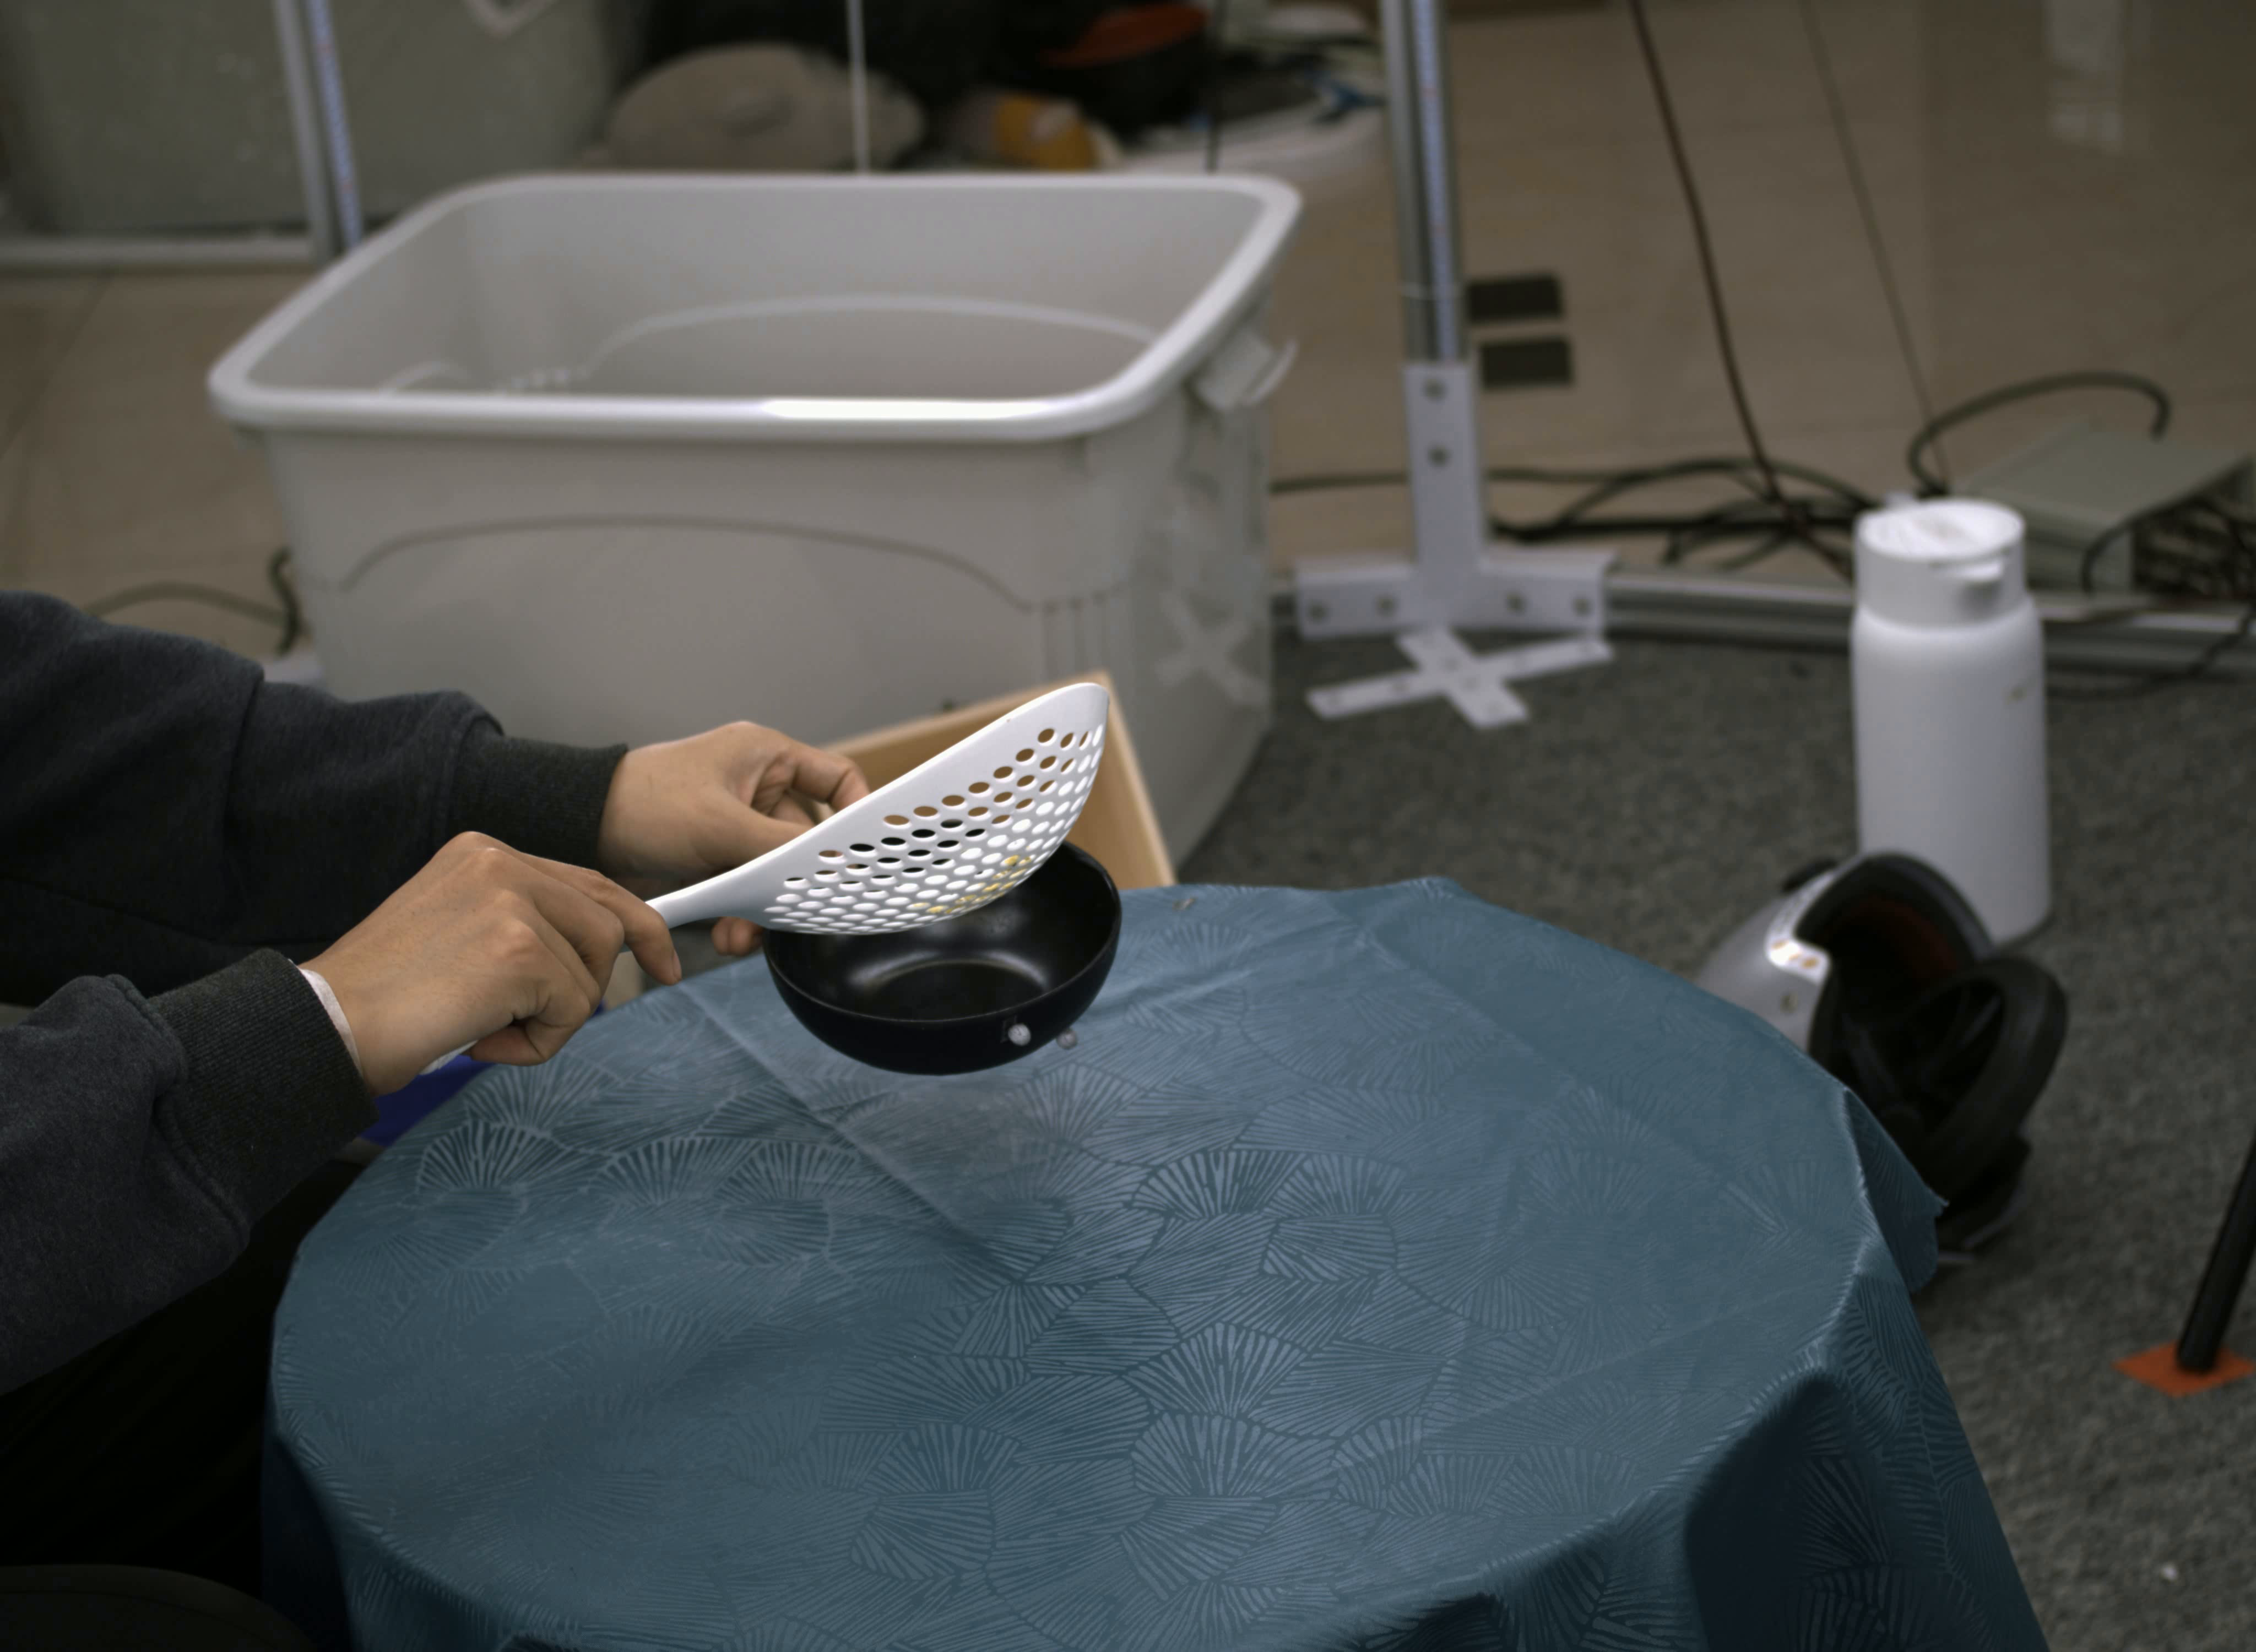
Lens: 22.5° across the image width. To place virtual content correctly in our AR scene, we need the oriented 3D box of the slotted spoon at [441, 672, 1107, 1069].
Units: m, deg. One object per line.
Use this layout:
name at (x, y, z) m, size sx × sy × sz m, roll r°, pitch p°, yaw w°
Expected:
slotted spoon at (-0.128, 0.026, 2.013) m, size 0.346 × 0.138 × 0.050 m, roll -18°, pitch 70°, yaw -46°
